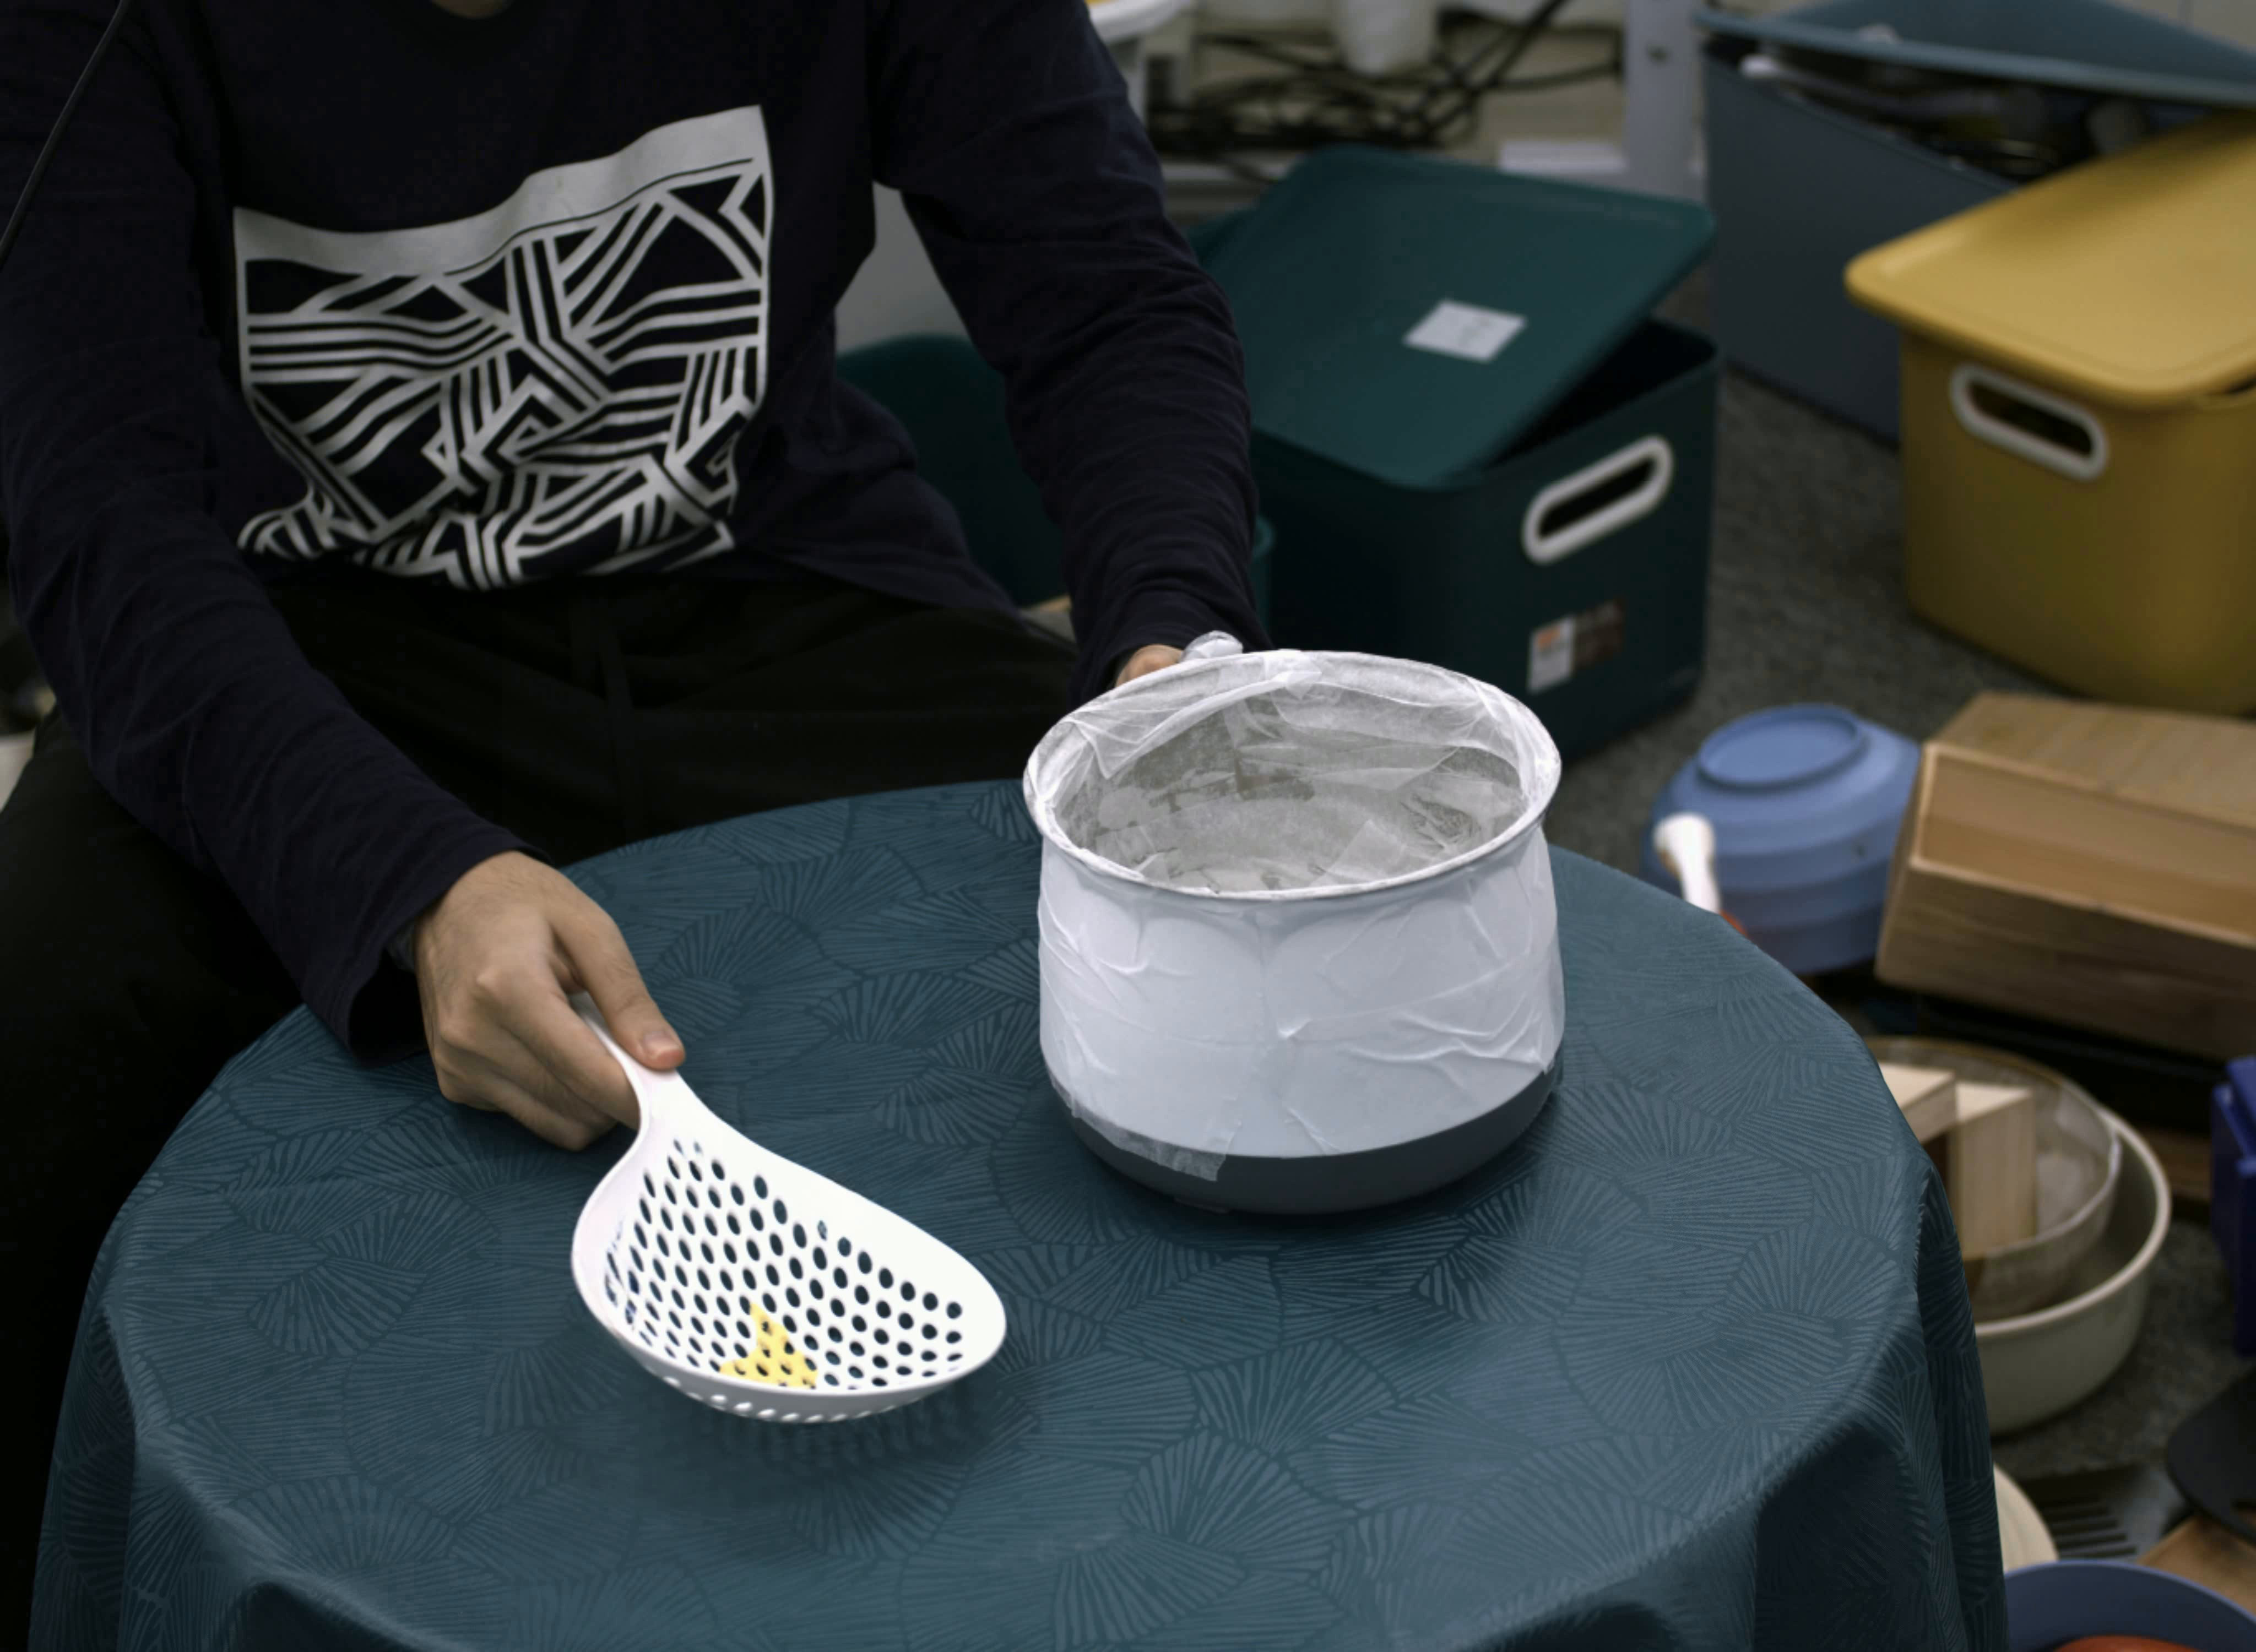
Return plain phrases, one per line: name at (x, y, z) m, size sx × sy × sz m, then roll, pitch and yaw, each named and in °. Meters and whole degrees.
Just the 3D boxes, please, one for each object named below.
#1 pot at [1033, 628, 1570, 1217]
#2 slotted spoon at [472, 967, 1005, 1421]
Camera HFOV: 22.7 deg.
pot at (0.050, 0.025, 1.896) m, size 0.179 × 0.135 × 0.236 m, roll -7°, pitch 27°, yaw -14°
slotted spoon at (-0.151, 0.109, 1.841) m, size 0.137 × 0.050 × 0.351 m, roll -1°, pitch 27°, yaw -24°
